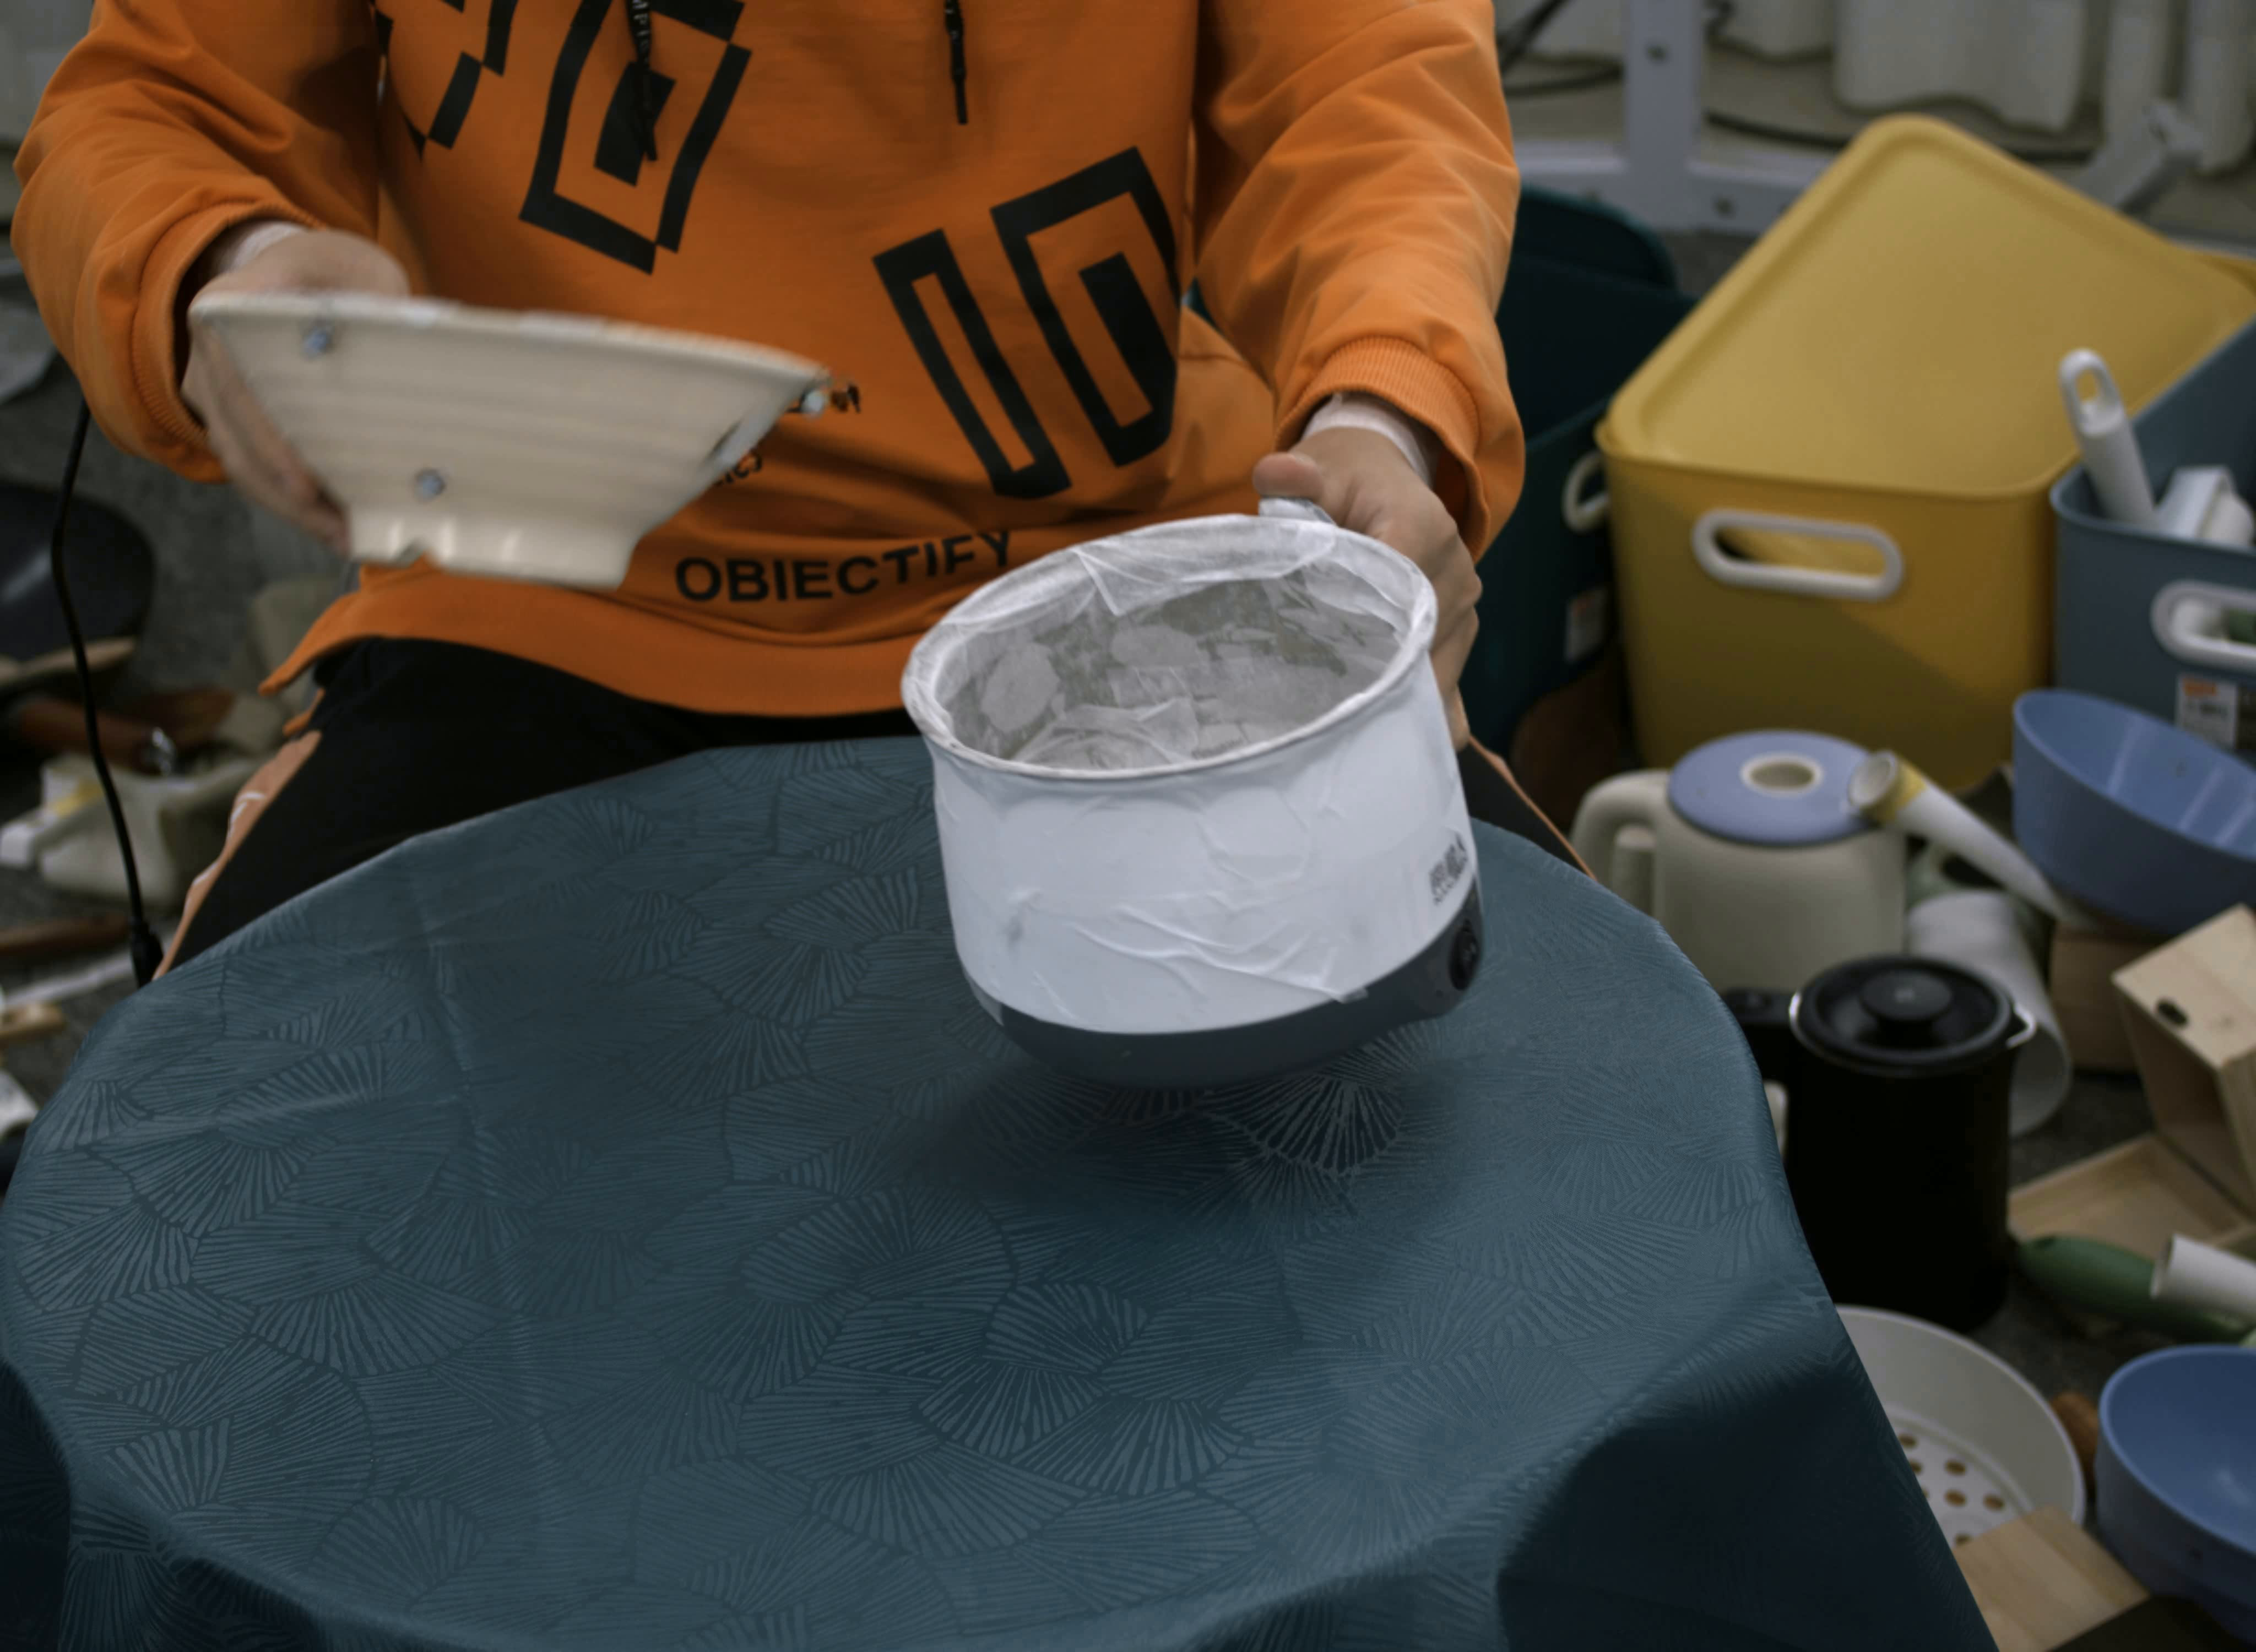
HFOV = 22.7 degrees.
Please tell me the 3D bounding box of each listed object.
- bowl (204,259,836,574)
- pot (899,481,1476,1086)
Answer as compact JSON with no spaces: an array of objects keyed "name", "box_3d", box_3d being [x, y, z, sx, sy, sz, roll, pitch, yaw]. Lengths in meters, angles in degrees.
[{"name":"bowl","box_3d":[-0.197,-0.125,1.808,0.203,0.078,0.203,5,-4,1]},{"name":"pot","box_3d":[0.032,-0.021,1.887,0.177,0.135,0.238,3,31,24]}]
